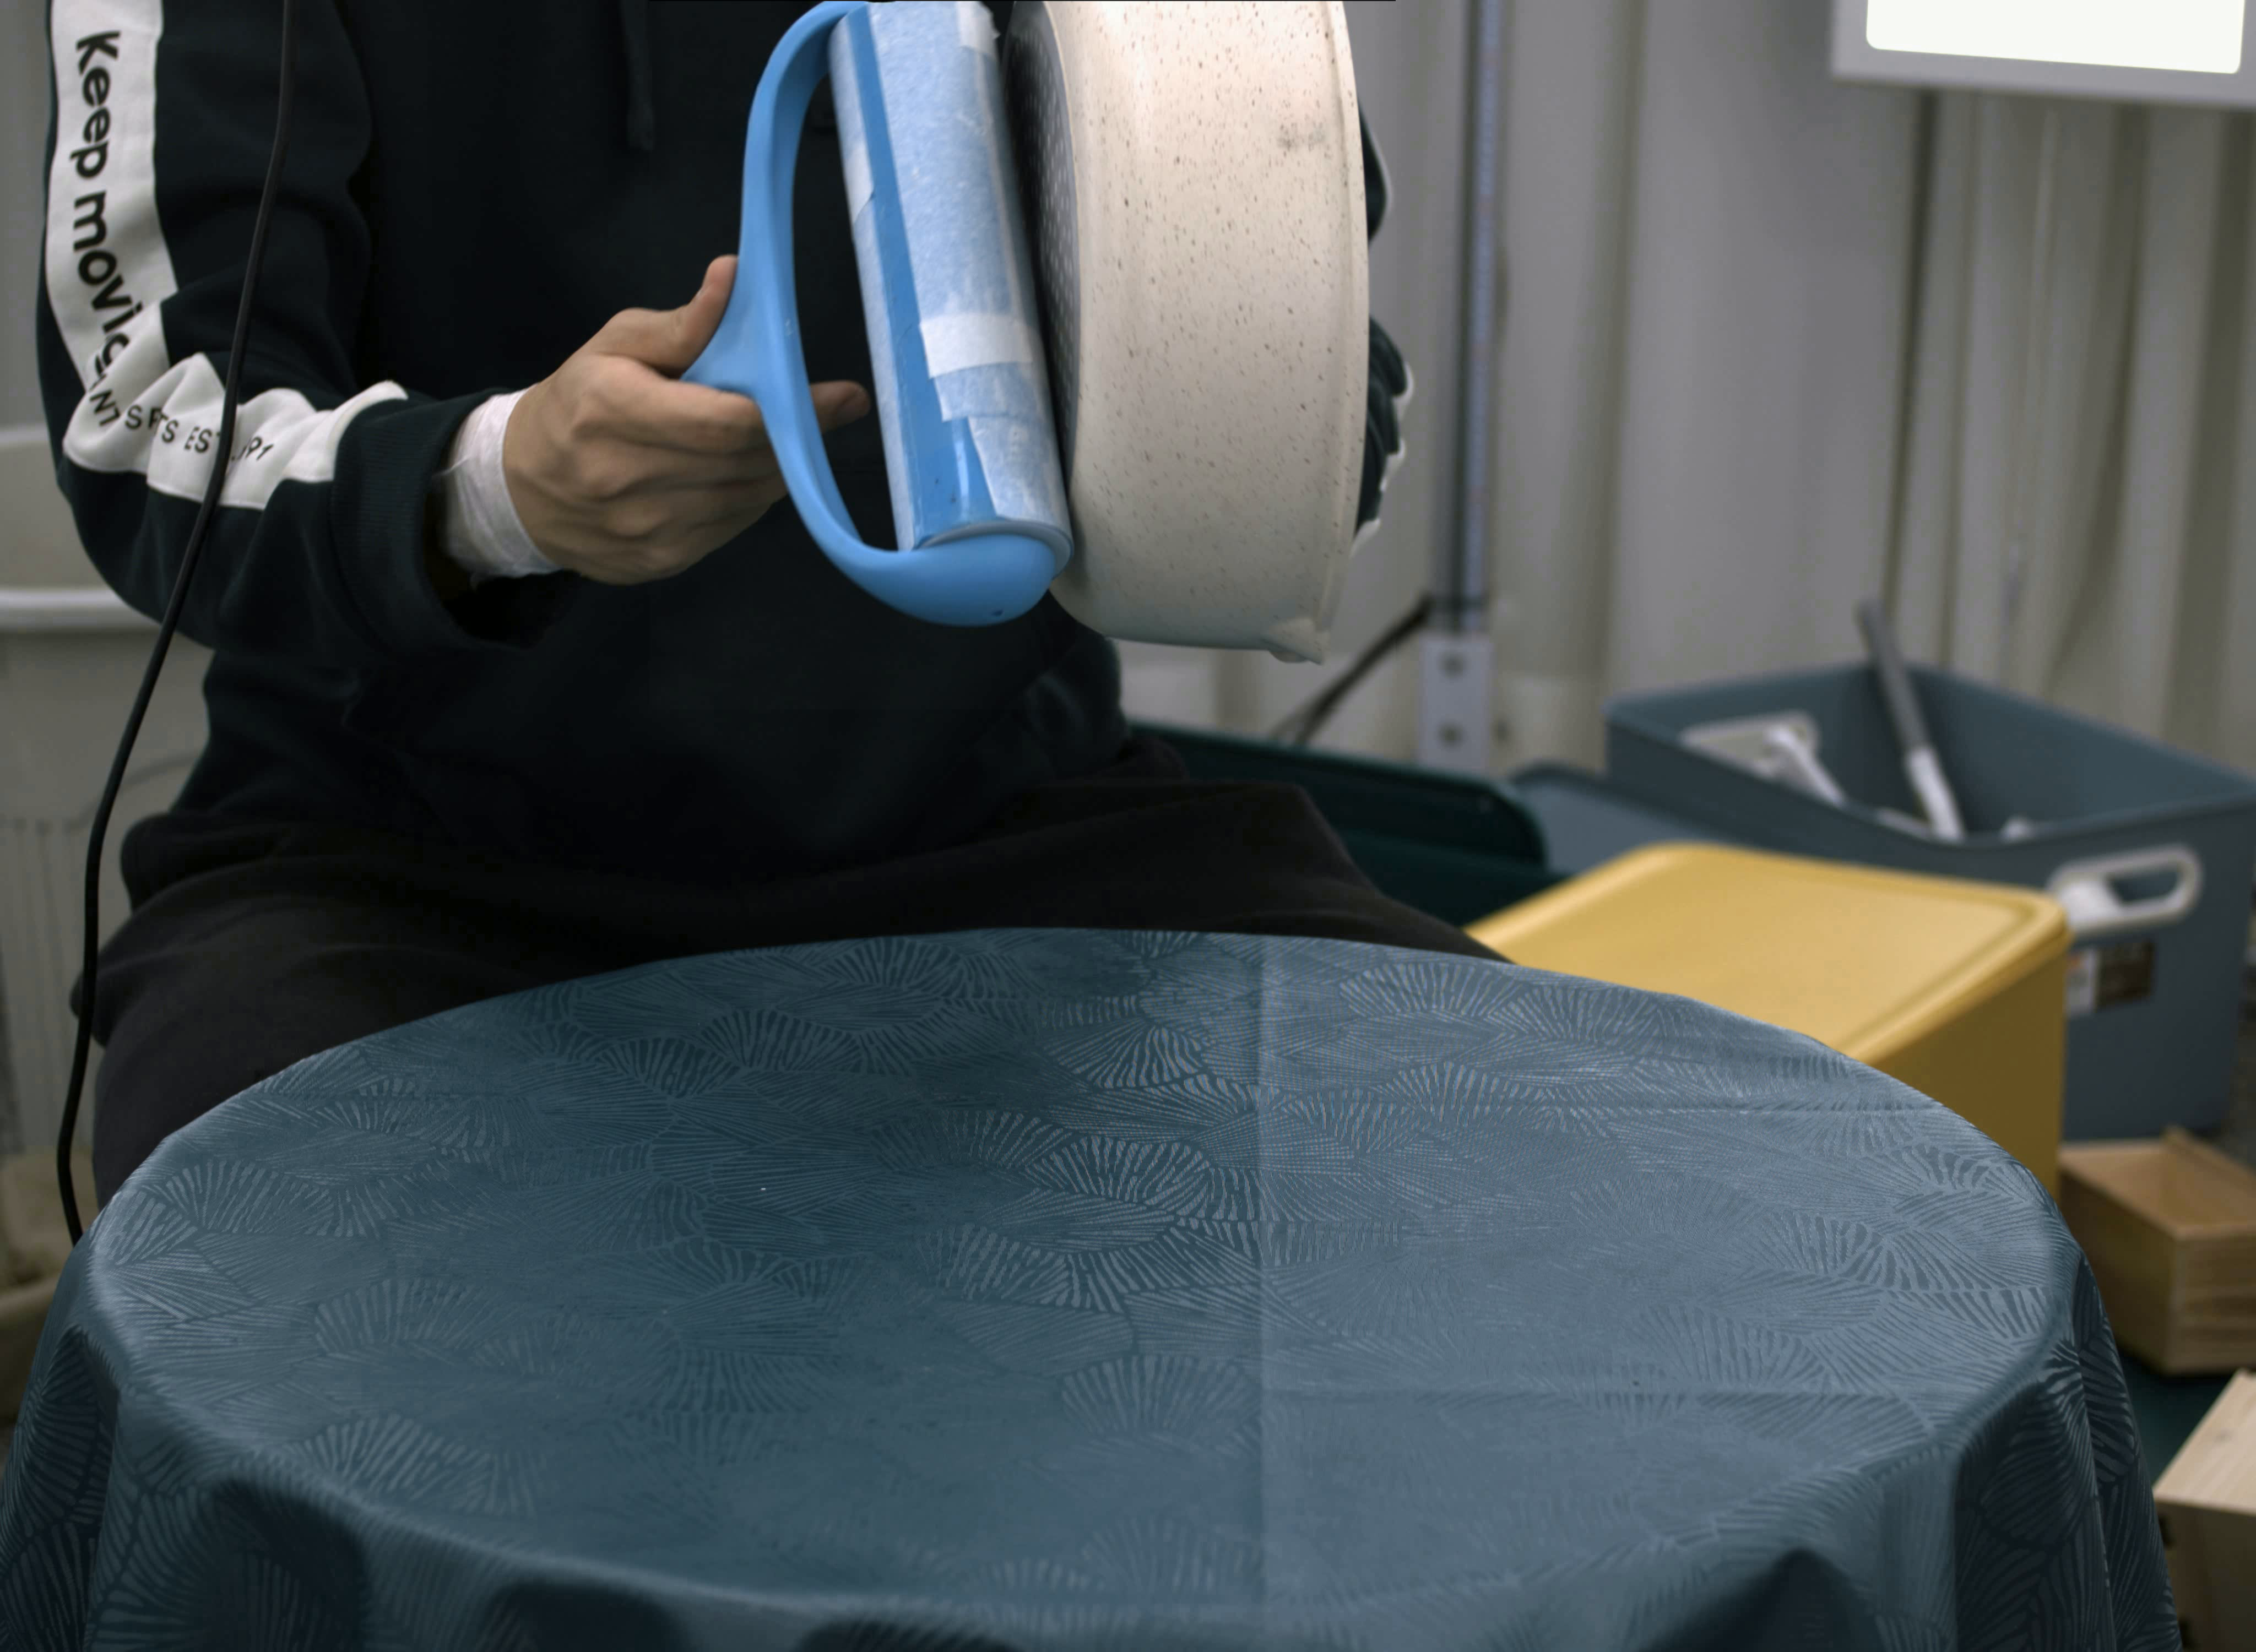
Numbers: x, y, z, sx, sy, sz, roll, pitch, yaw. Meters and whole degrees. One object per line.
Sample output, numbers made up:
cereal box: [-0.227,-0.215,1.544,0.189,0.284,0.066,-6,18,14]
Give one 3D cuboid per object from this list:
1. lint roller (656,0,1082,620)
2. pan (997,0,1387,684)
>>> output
lint roller: [-0.101,-0.143,1.664,0.179,0.227,0.068,-29,-29,31]
pan: [0.007,-0.148,1.749,0.102,0.263,0.435,-5,-13,-10]
